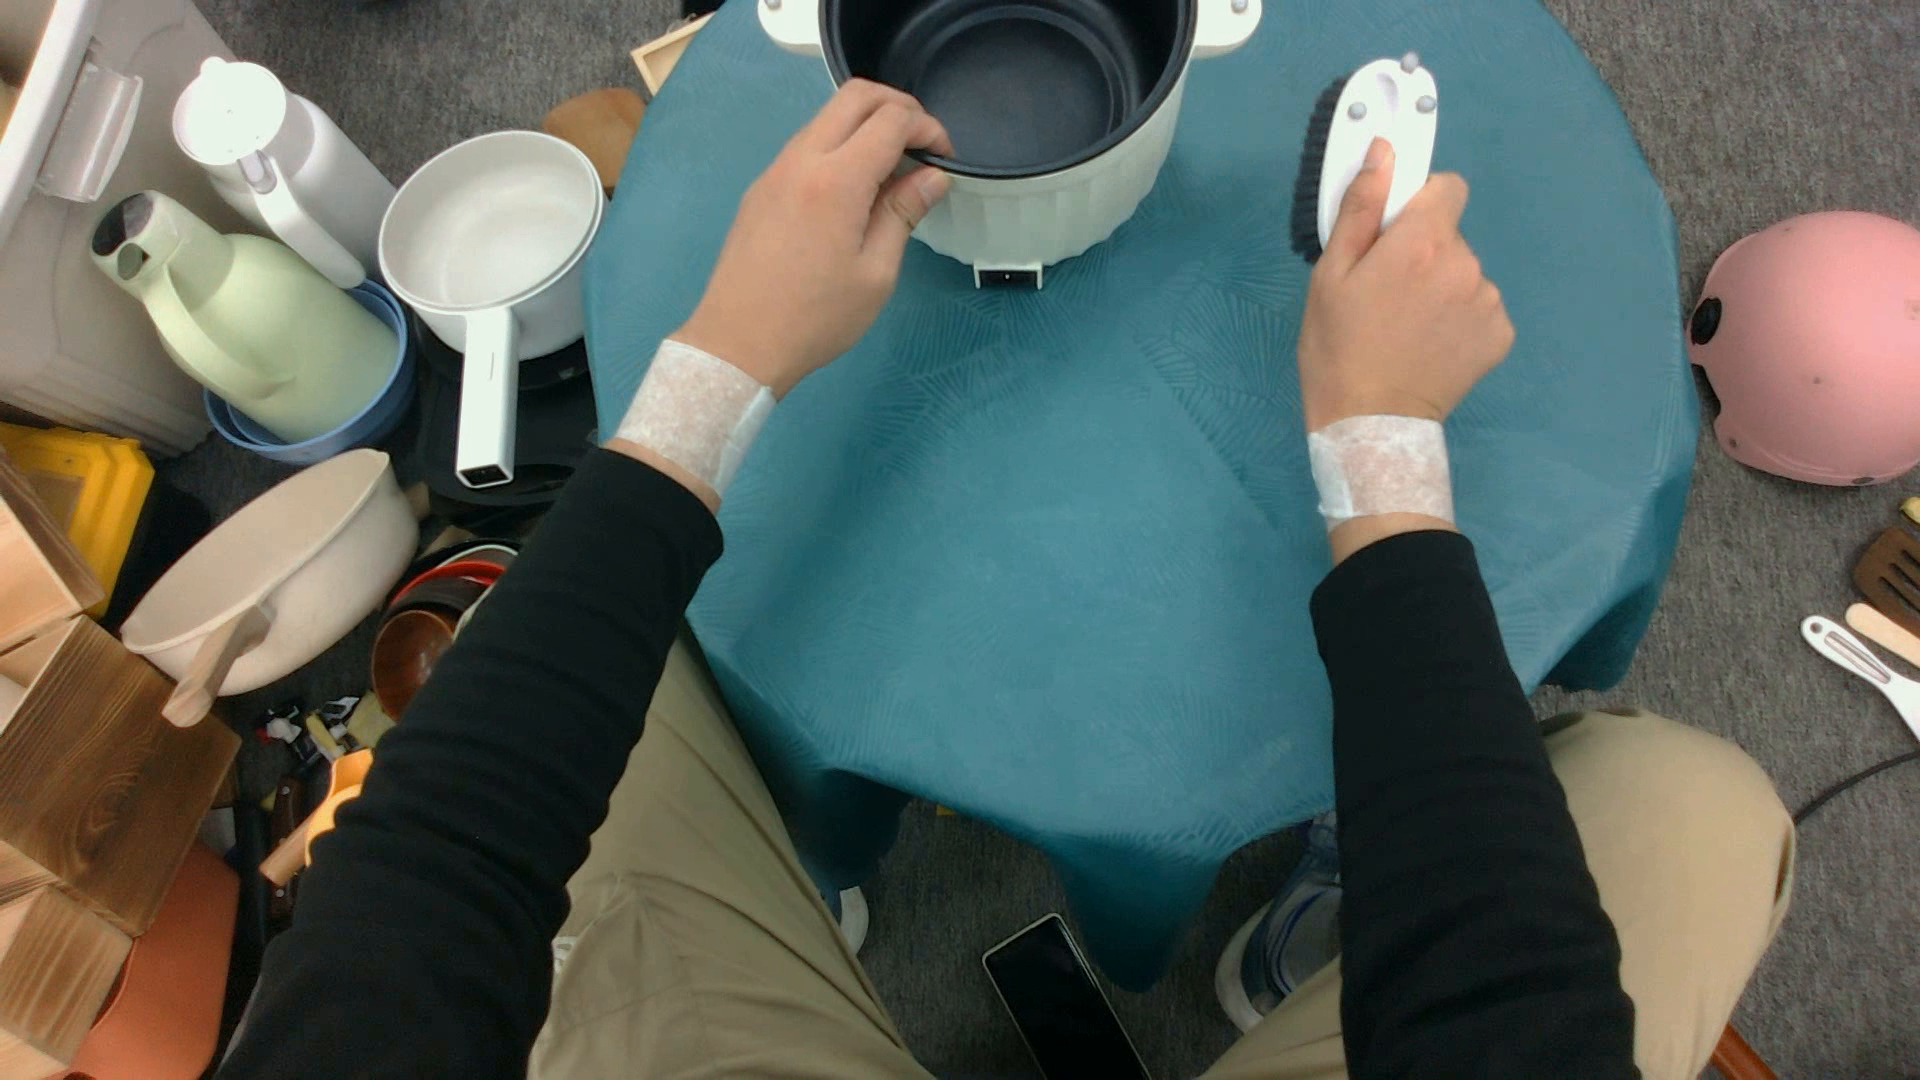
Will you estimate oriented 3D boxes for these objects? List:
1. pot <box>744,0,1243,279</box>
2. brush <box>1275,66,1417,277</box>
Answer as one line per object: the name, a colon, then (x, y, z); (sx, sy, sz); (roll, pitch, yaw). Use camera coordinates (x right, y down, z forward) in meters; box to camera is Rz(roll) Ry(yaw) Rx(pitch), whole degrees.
pot: (0.017, -0.249, 0.724); (0.240, 0.142, 0.191); (1, 78, 1)
brush: (0.195, -0.182, 0.674); (0.050, 0.072, 0.099); (9, 93, -13)
